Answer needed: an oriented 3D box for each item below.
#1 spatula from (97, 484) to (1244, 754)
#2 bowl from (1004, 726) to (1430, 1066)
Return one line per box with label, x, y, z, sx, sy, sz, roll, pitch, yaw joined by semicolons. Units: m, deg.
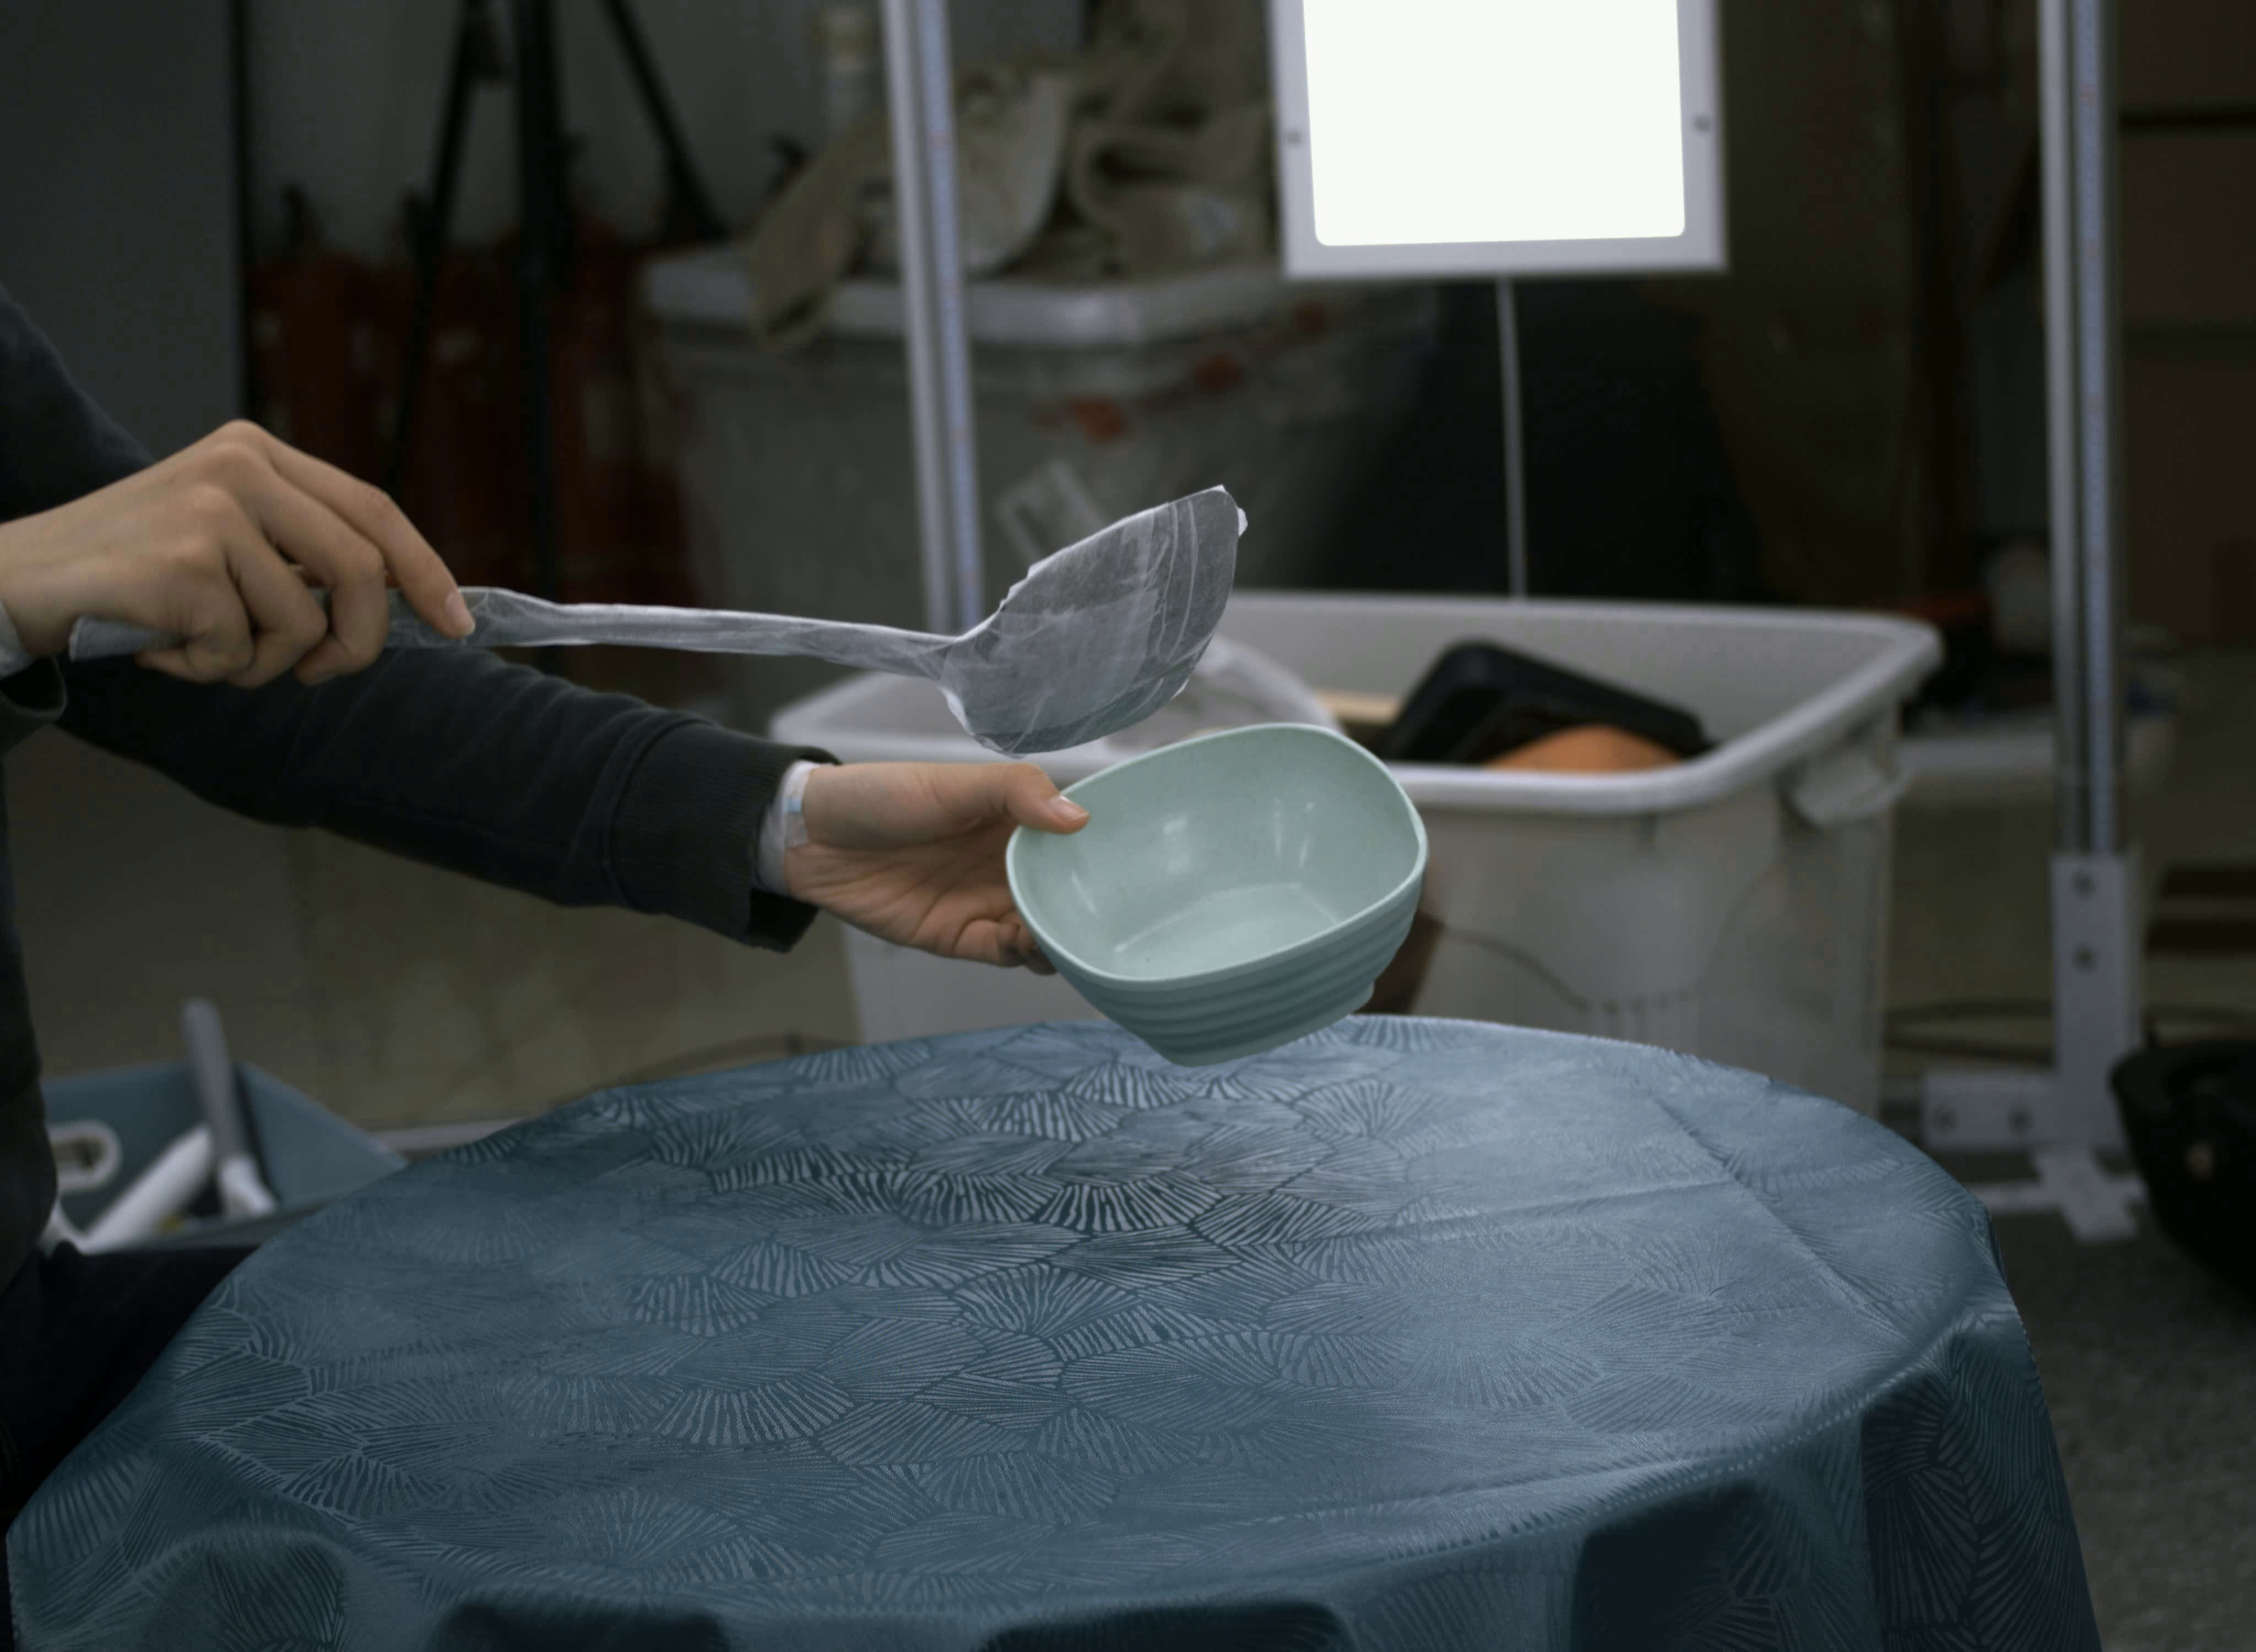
spatula;-0.131;-0.059;1.664;0.358;0.100;0.045;0;45;-19
bowl;0.033;0.031;1.872;0.151;0.059;0.151;-8;34;4
